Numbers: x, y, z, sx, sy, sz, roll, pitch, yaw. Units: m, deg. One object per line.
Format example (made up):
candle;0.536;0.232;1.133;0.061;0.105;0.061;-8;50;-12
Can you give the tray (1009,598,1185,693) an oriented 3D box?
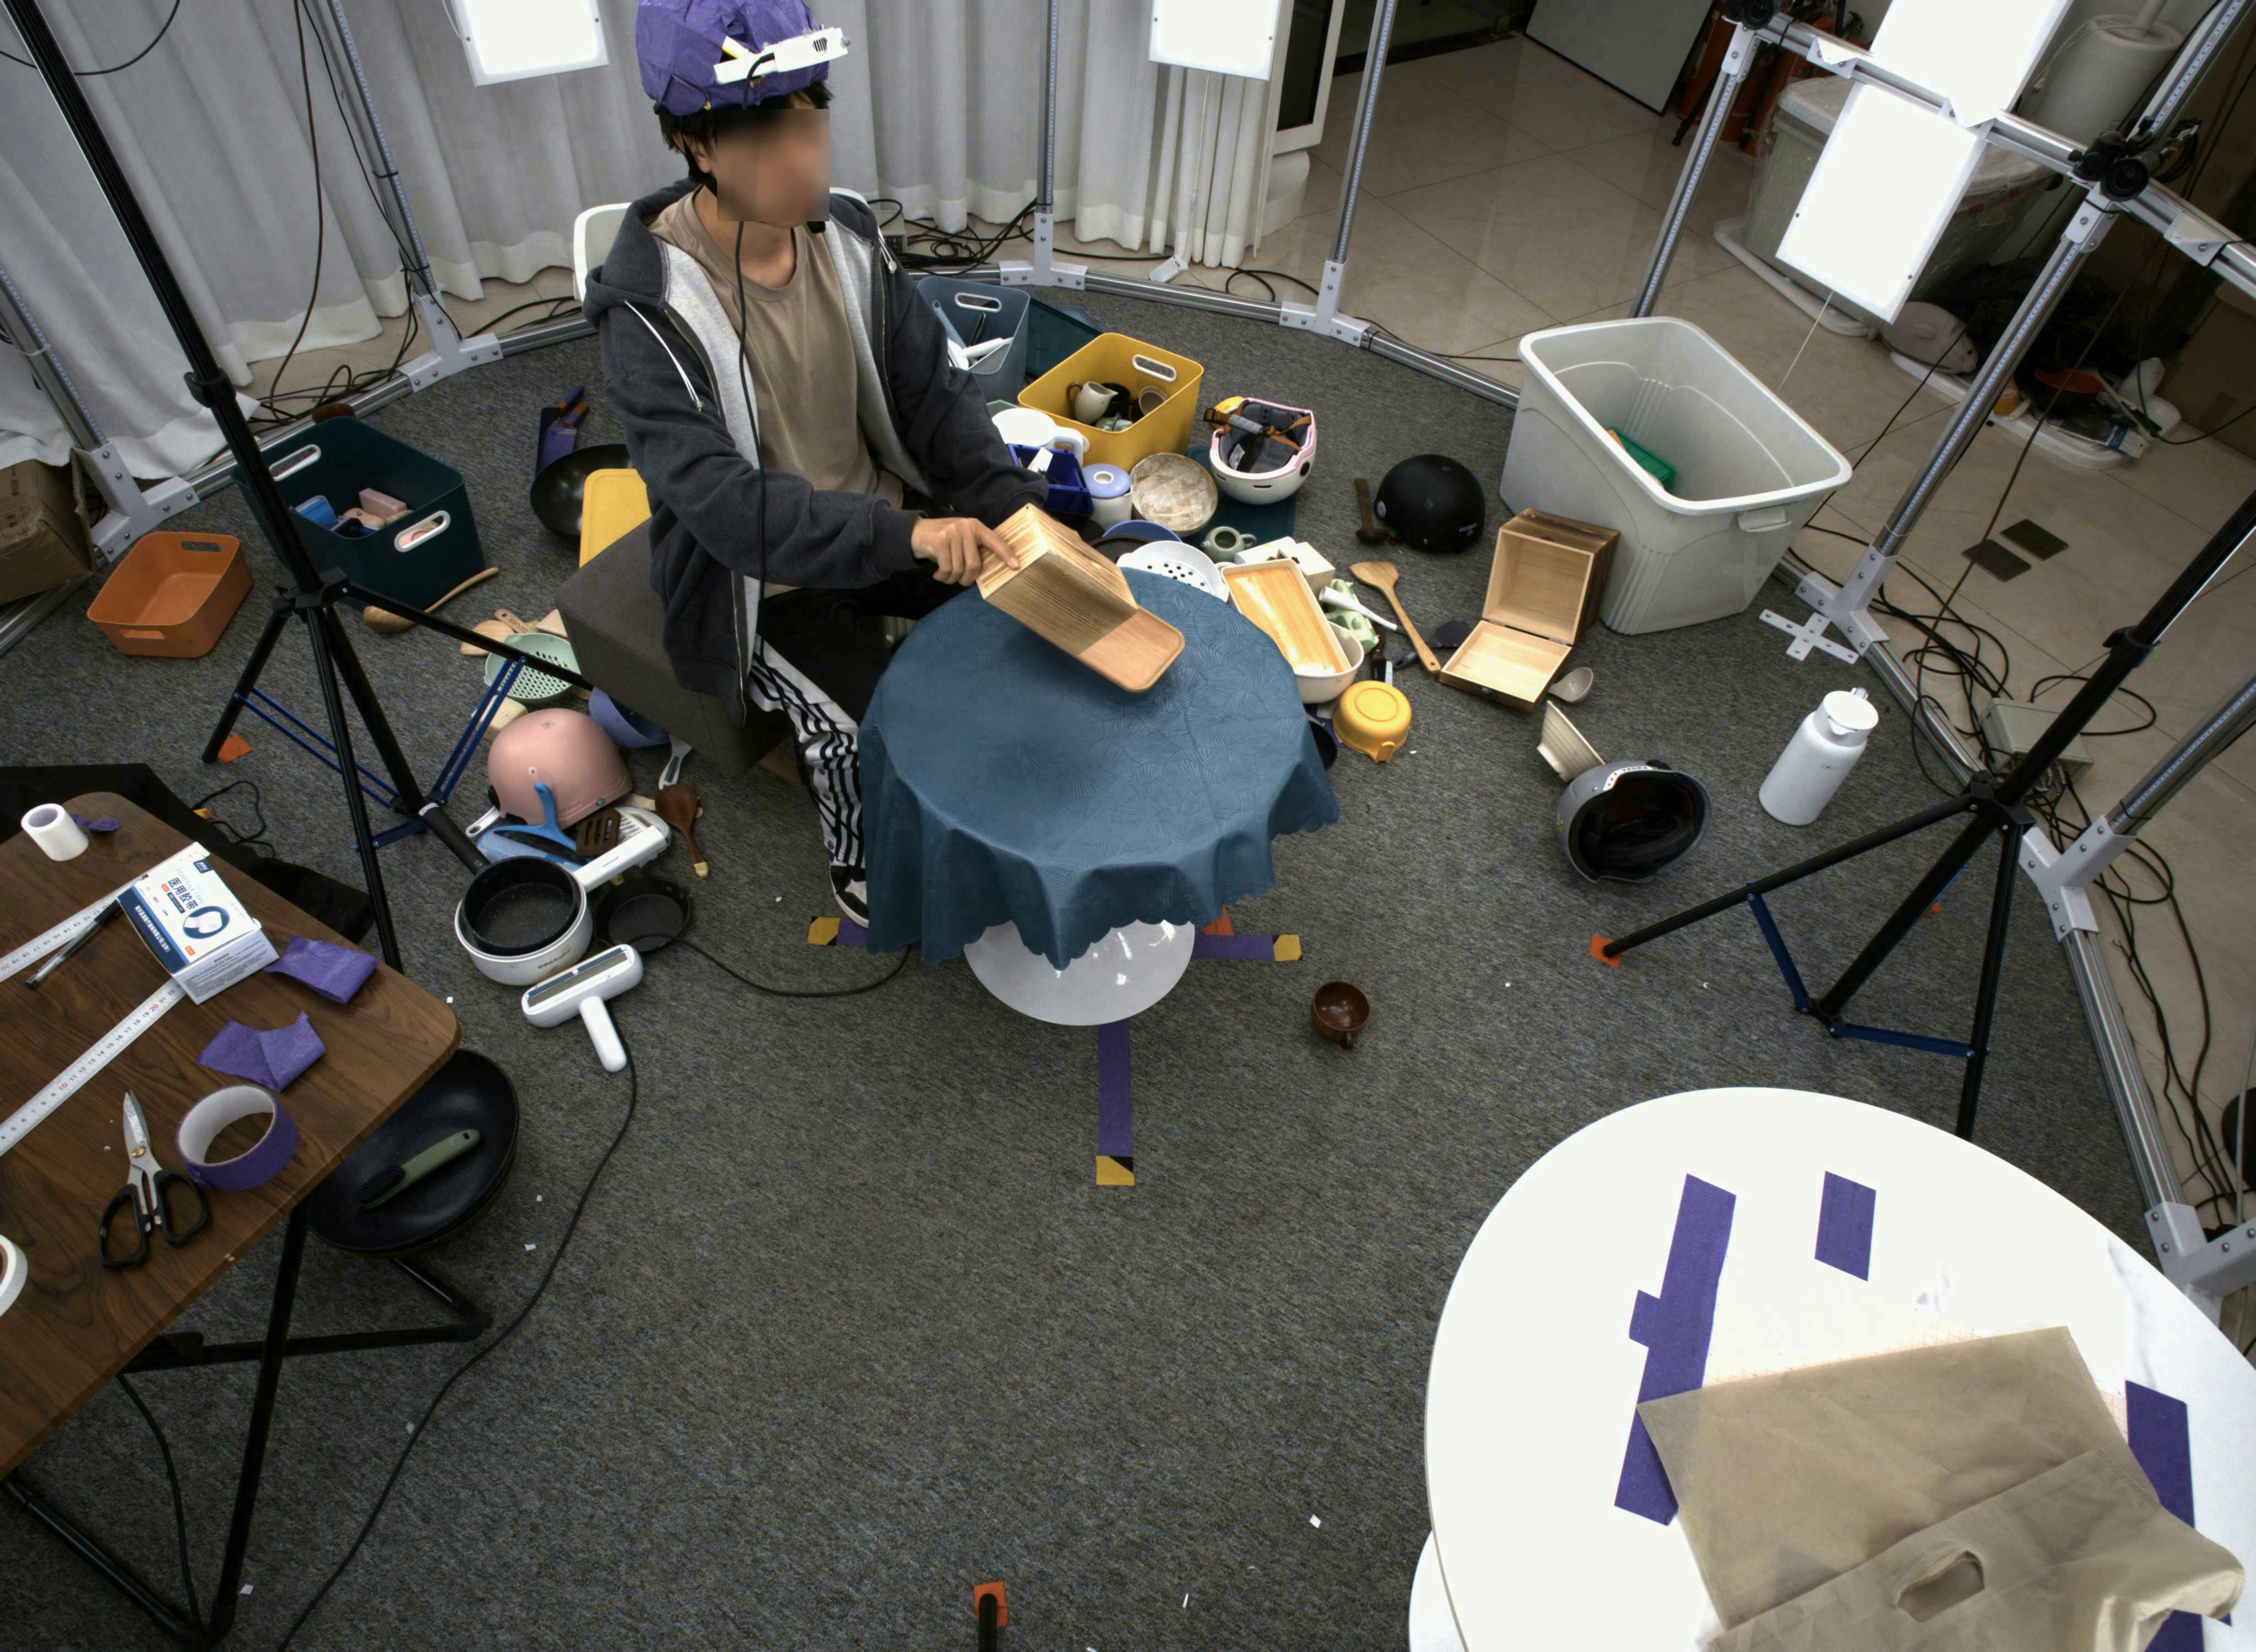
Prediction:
tray;-0.046;-0.289;1.845;0.253;0.022;0.132;34;62;16

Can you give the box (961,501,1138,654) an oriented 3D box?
box;-0.096;-0.310;1.636;0.107;0.208;0.082;-33;62;22
